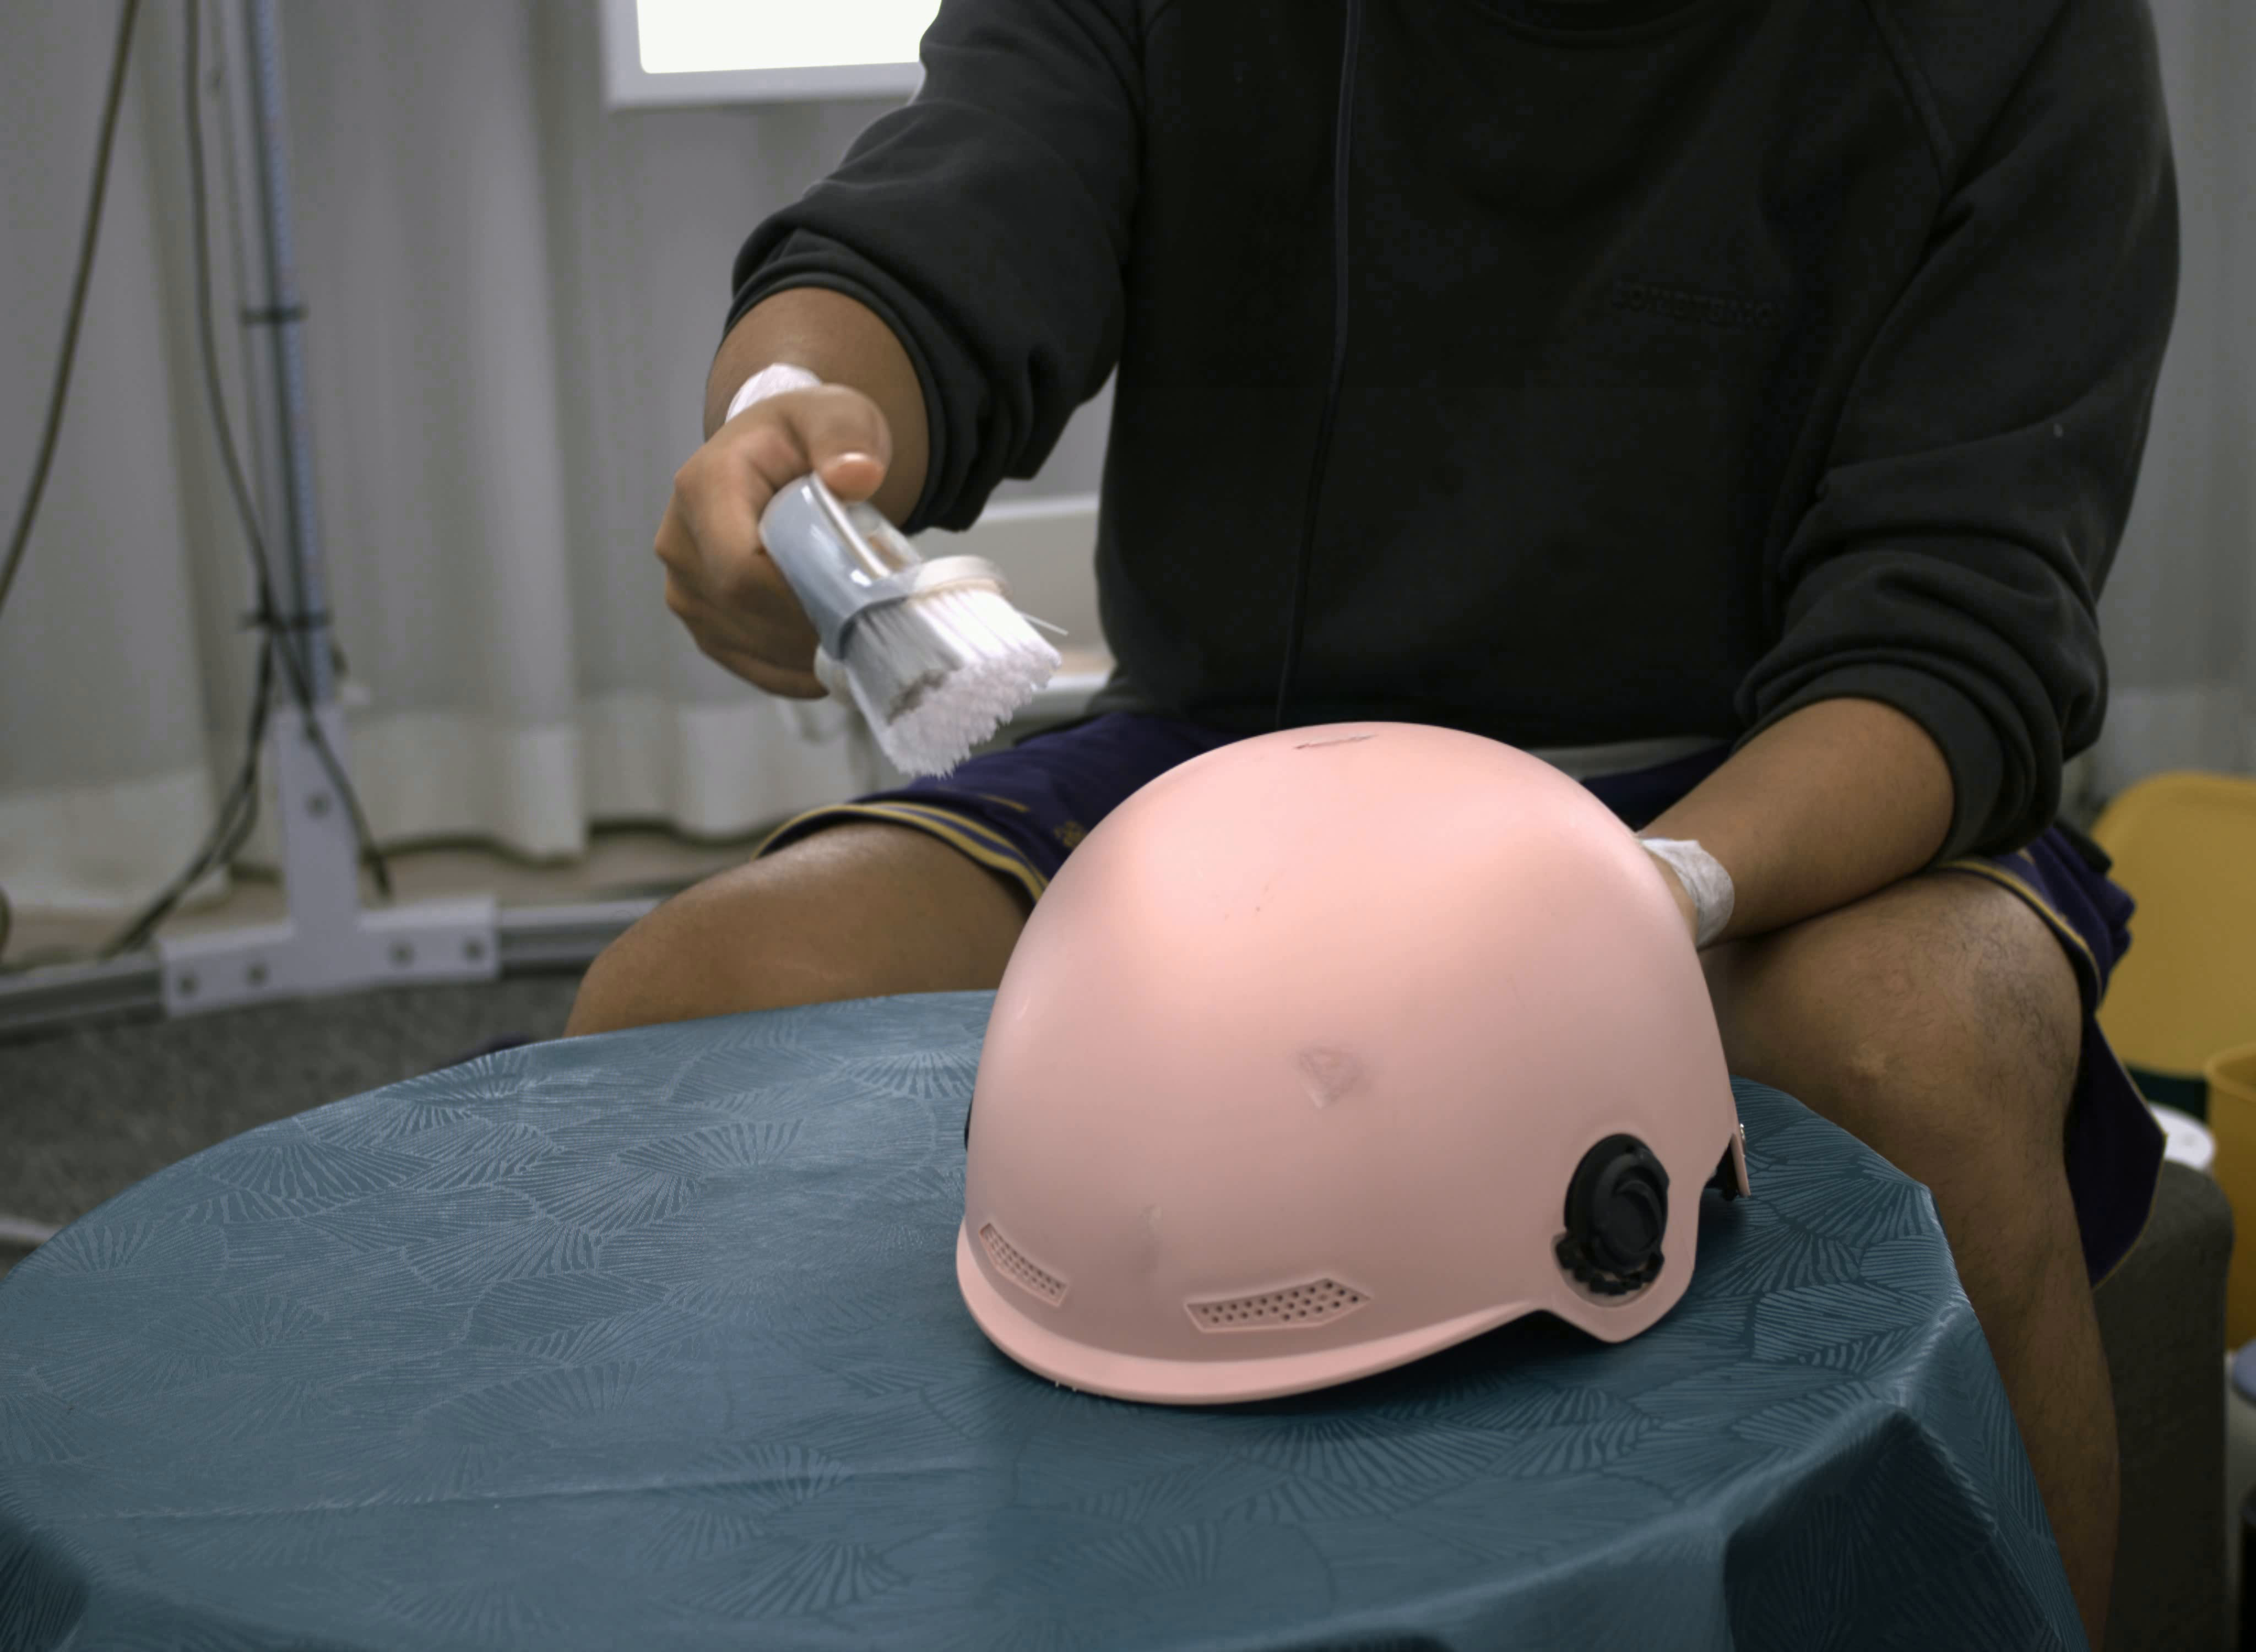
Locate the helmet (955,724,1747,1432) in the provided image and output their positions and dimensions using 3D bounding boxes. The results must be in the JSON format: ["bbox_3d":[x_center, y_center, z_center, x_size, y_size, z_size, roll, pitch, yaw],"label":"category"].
[{"bbox_3d":[0.060,0.059,1.619,0.235,0.158,0.267,7,24,31],"label":"helmet"}]

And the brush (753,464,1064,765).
[{"bbox_3d":[-0.074,-0.070,1.636,0.061,0.094,0.175,-43,-5,8],"label":"brush"}]
